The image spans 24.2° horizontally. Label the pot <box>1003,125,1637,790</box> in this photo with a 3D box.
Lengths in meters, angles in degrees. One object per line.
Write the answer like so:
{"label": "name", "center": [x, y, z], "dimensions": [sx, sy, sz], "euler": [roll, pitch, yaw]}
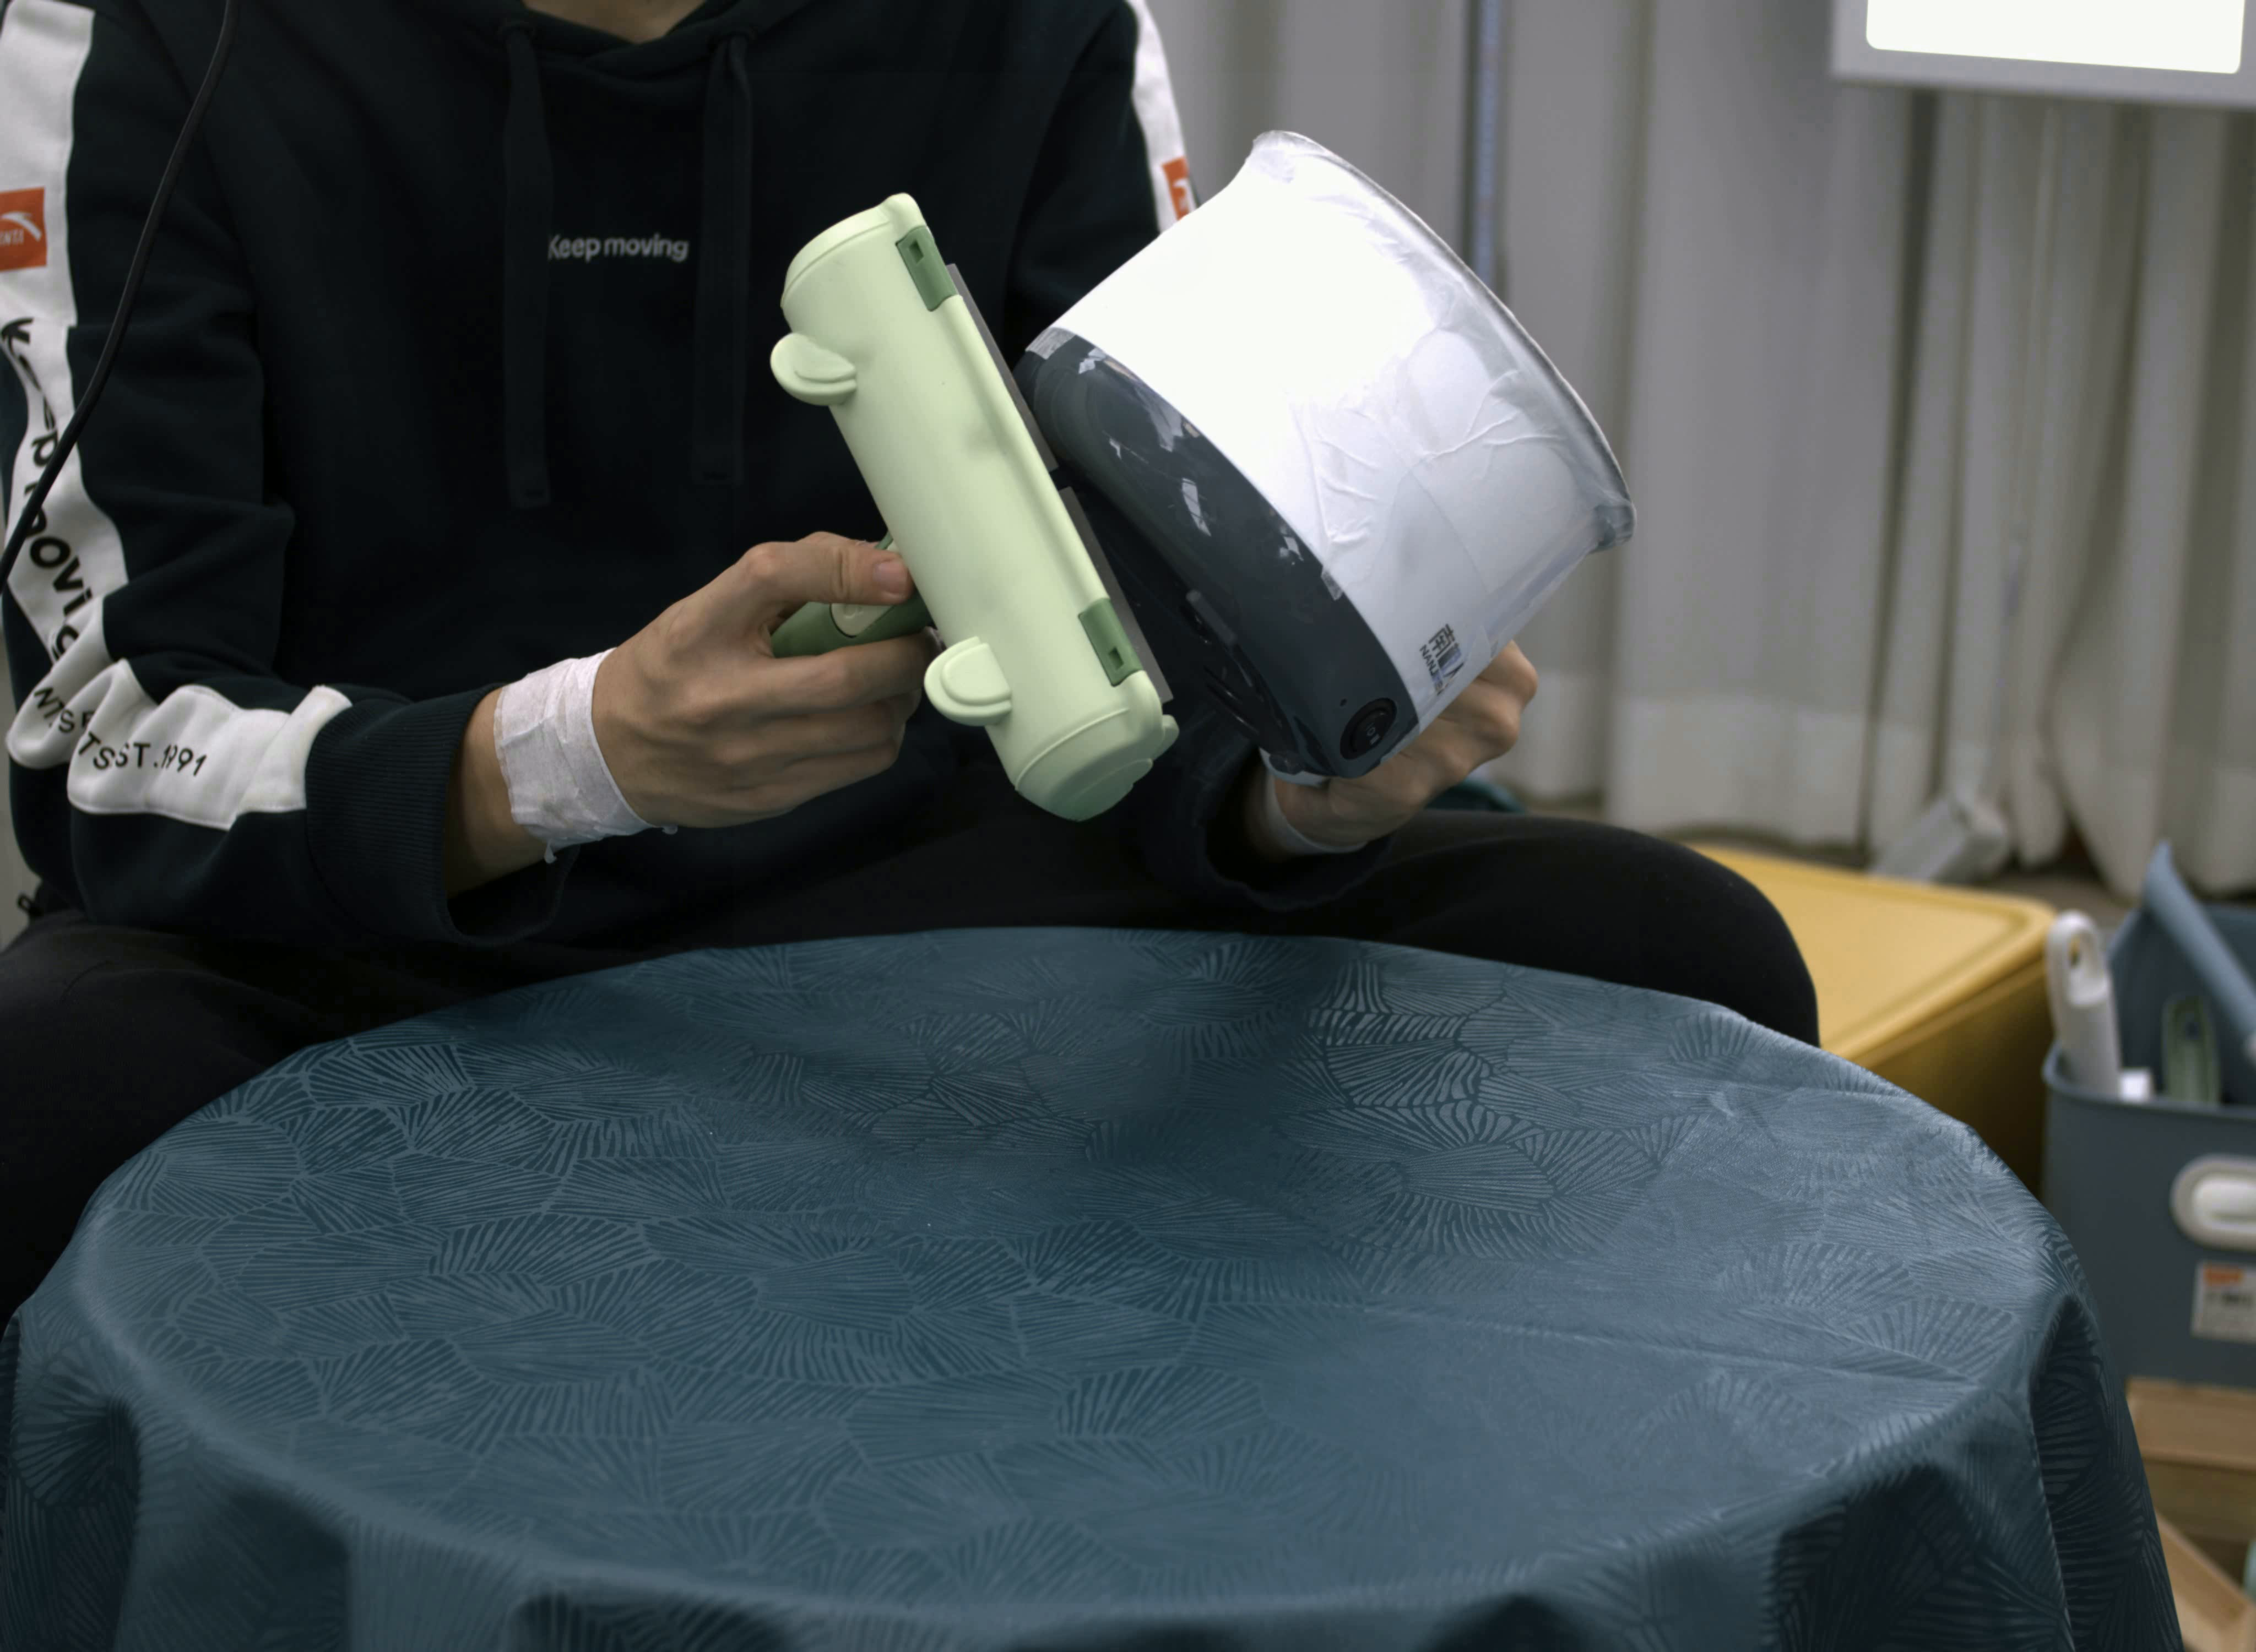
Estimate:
{"label": "pot", "center": [0.063, -0.103, 1.711], "dimensions": [0.136, 0.236, 0.176], "euler": [-43, 61, -7]}

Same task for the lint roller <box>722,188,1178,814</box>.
{"label": "lint roller", "center": [-0.088, -0.070, 1.647], "dimensions": [0.183, 0.197, 0.083], "euler": [-37, -18, 34]}
